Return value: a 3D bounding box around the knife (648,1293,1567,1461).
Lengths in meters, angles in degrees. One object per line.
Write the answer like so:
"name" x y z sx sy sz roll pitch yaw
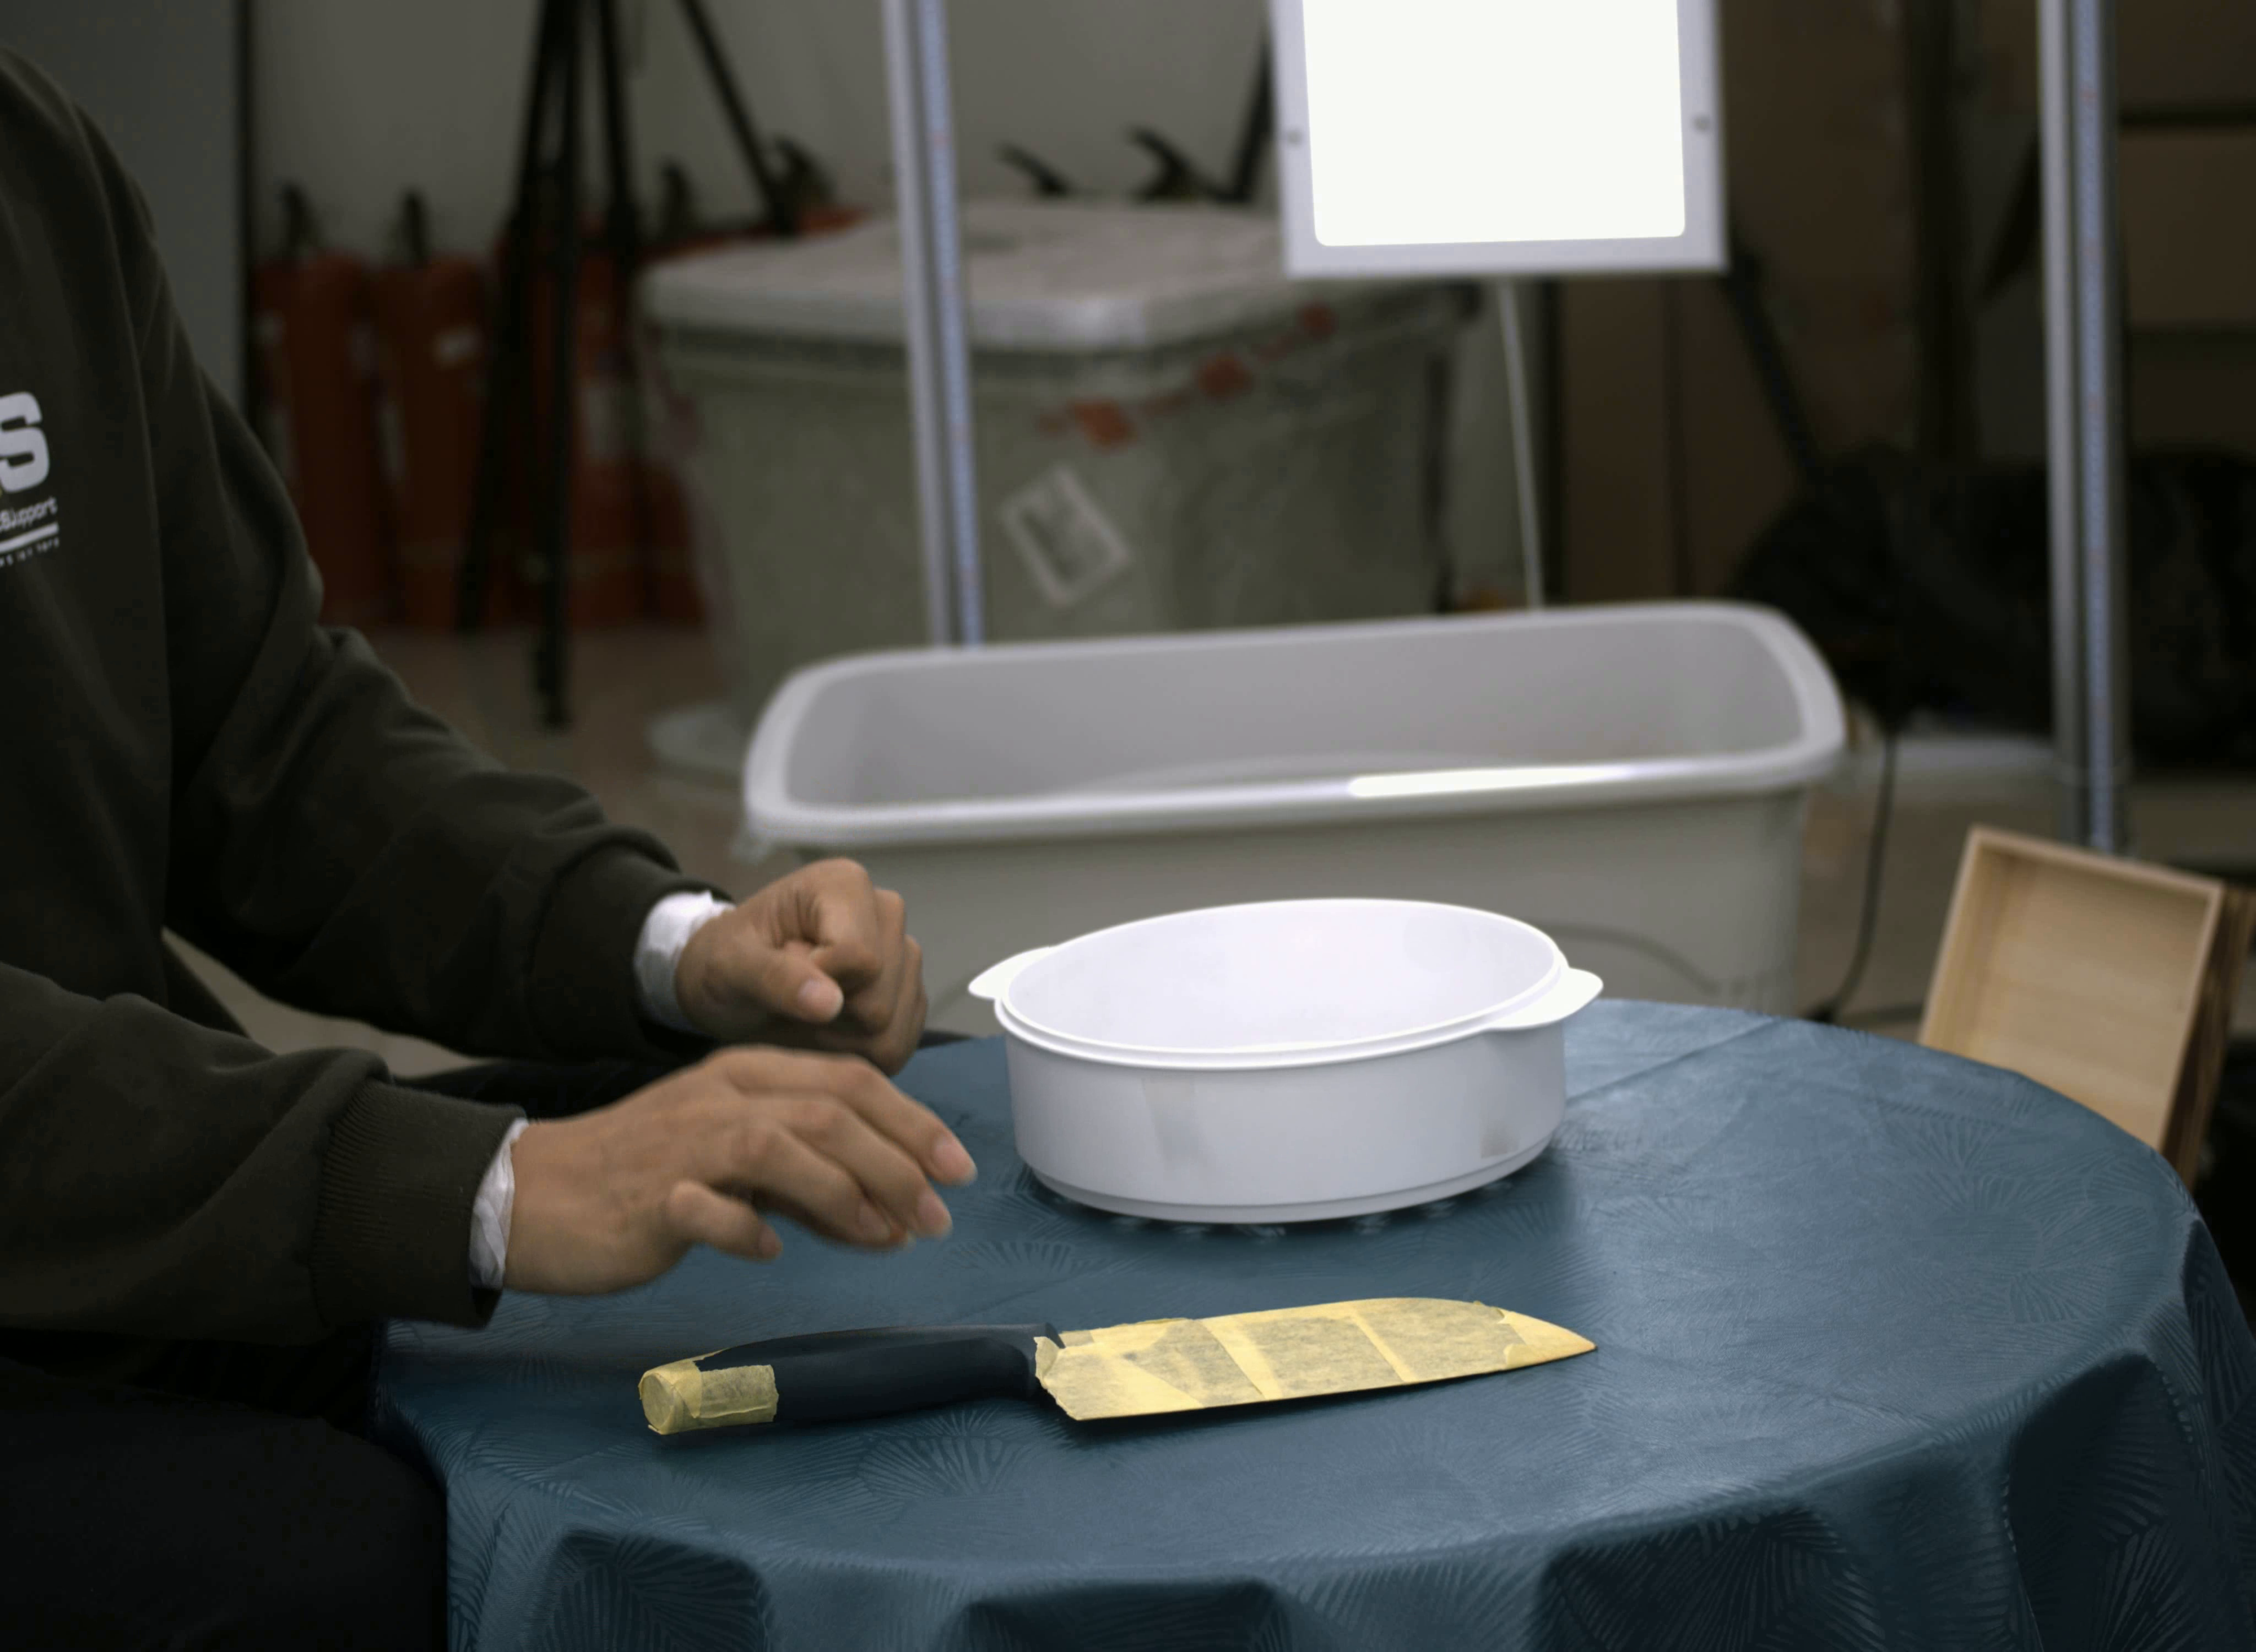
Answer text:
"knife" -0.003 0.169 1.698 0.286 0.027 0.081 -6 13 -8

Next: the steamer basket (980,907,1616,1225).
"steamer basket" 0.060 0.083 1.918 0.235 0.069 0.197 1 14 28
